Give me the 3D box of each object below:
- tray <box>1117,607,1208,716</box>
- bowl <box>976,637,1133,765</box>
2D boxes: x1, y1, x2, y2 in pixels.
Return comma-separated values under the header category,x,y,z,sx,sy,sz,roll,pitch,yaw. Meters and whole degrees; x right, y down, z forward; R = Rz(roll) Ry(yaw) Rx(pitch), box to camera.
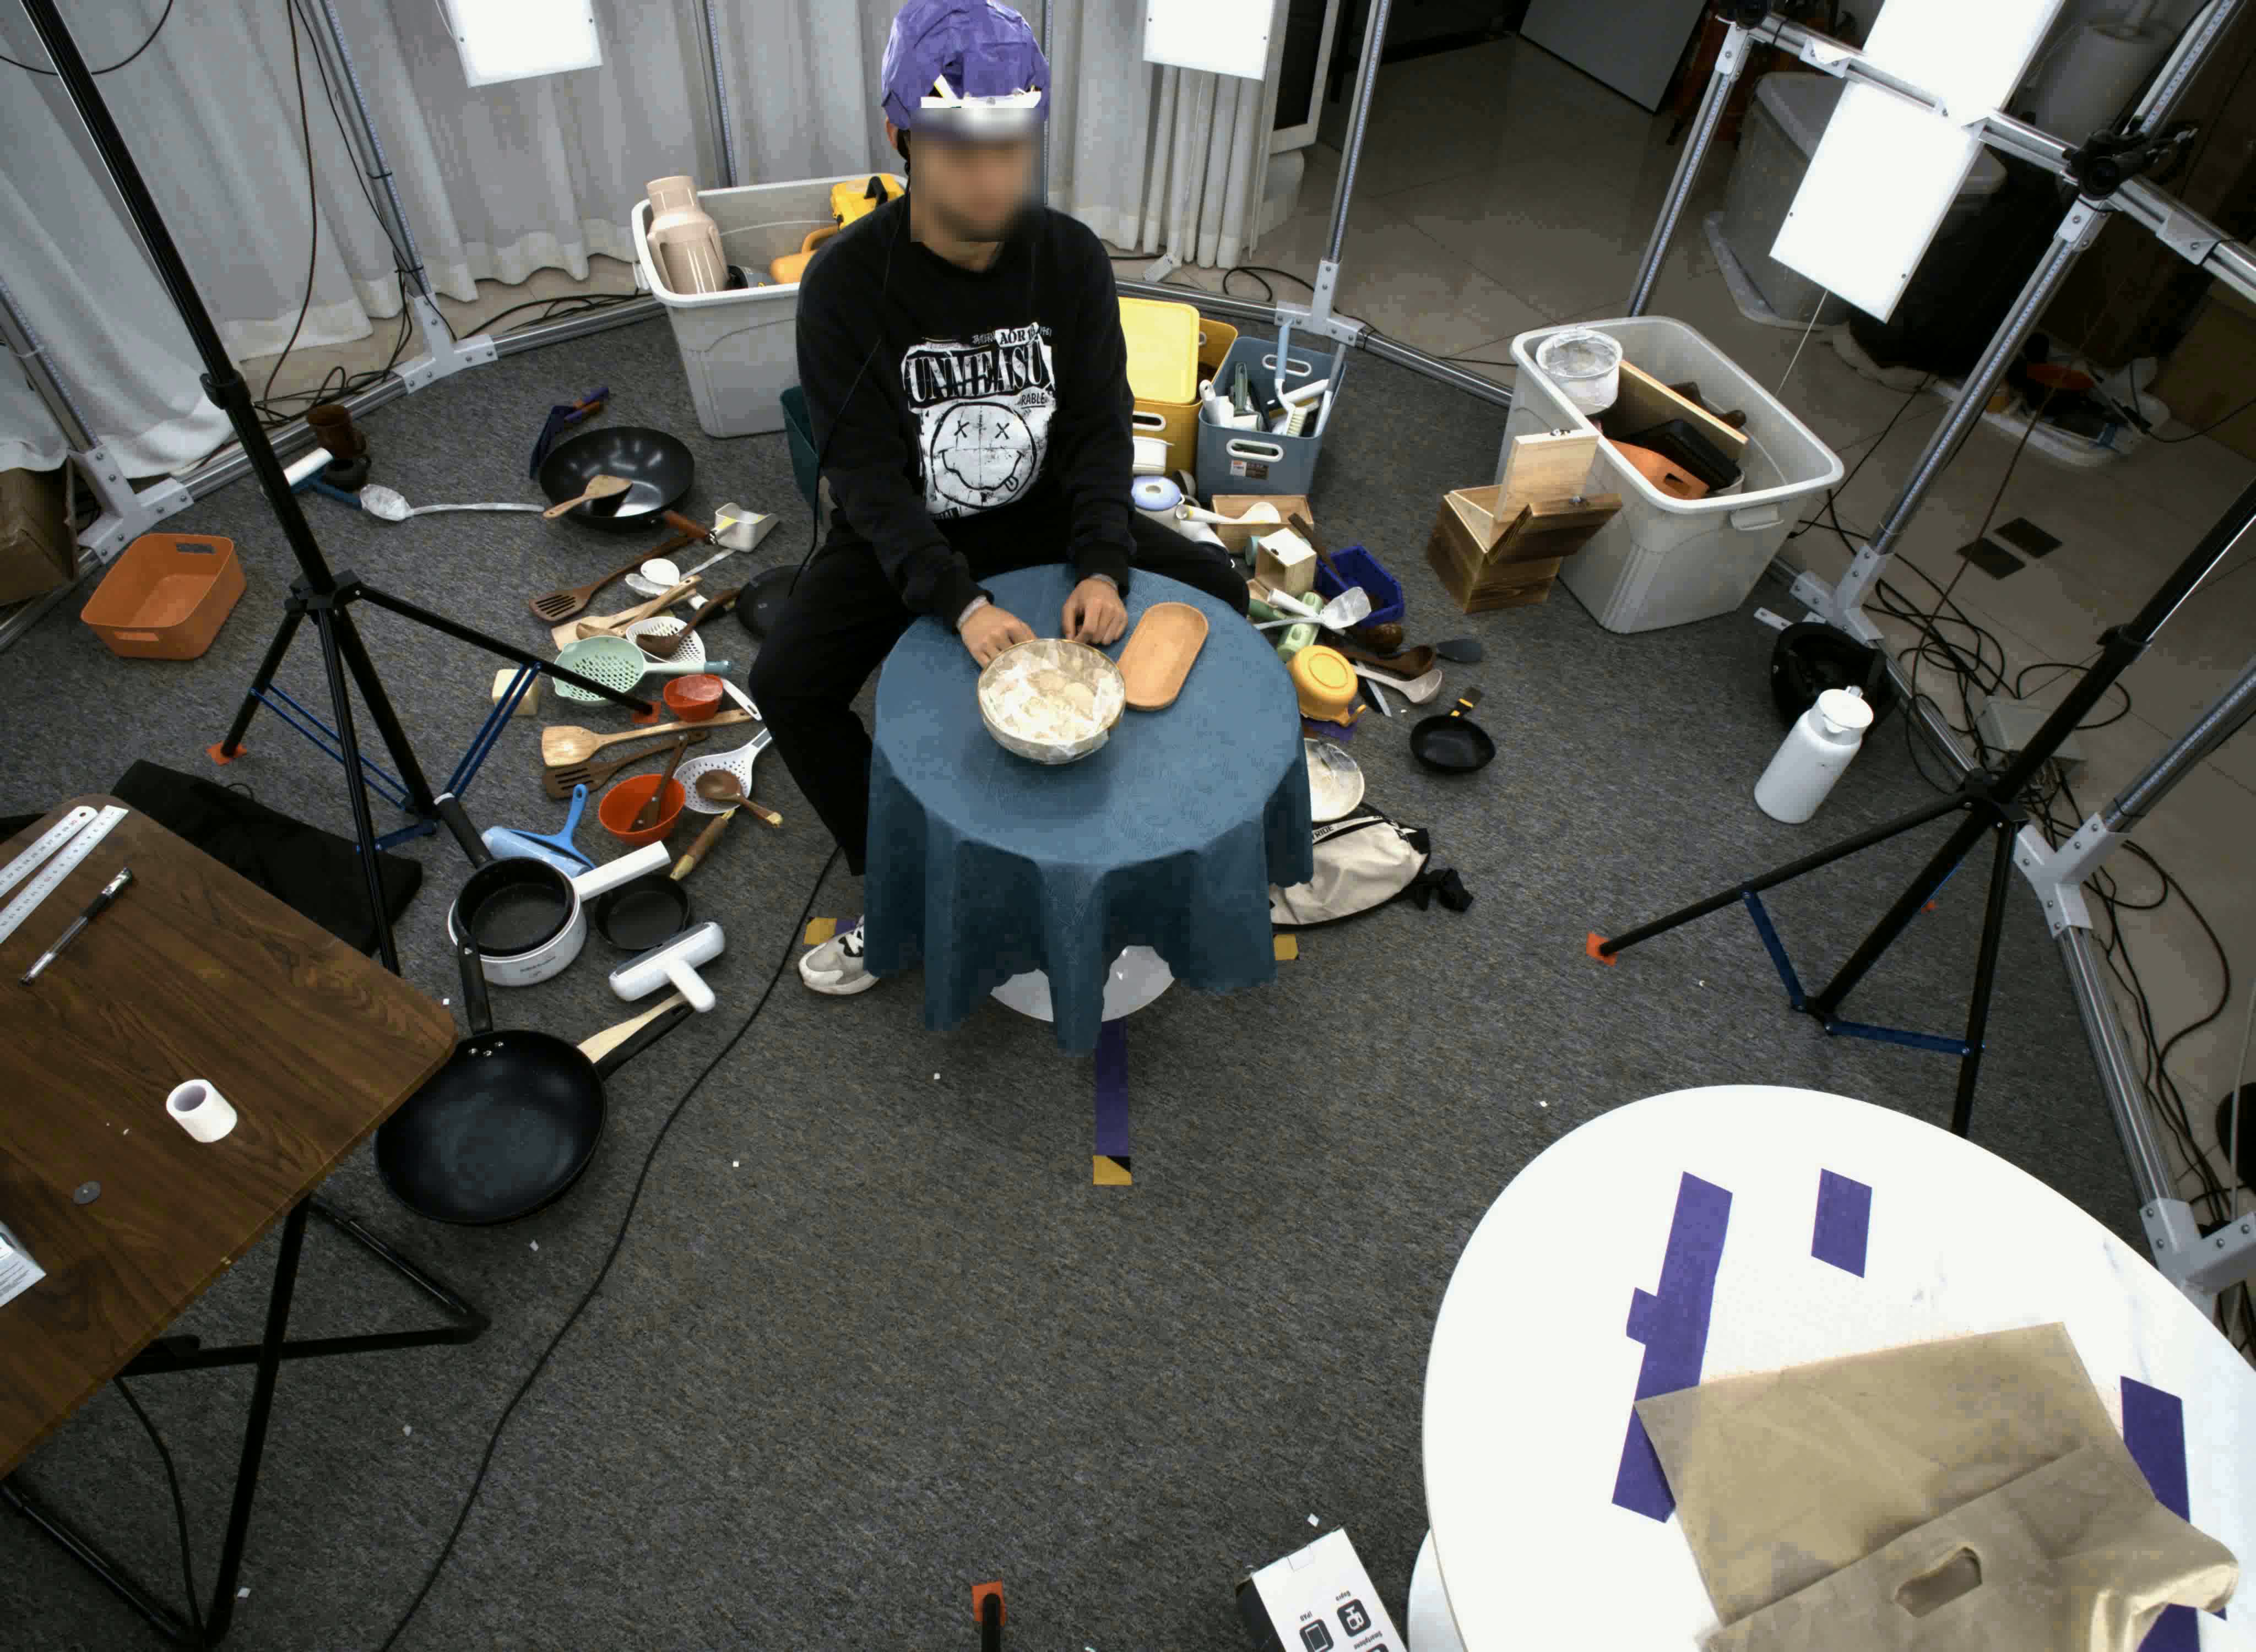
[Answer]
category,x,y,z,sx,sy,sz,roll,pitch,yaw
tray,0.048,-0.245,1.892,0.102,0.020,0.236,15,51,12
bowl,-0.100,-0.156,1.753,0.214,0.092,0.220,1,49,-1
